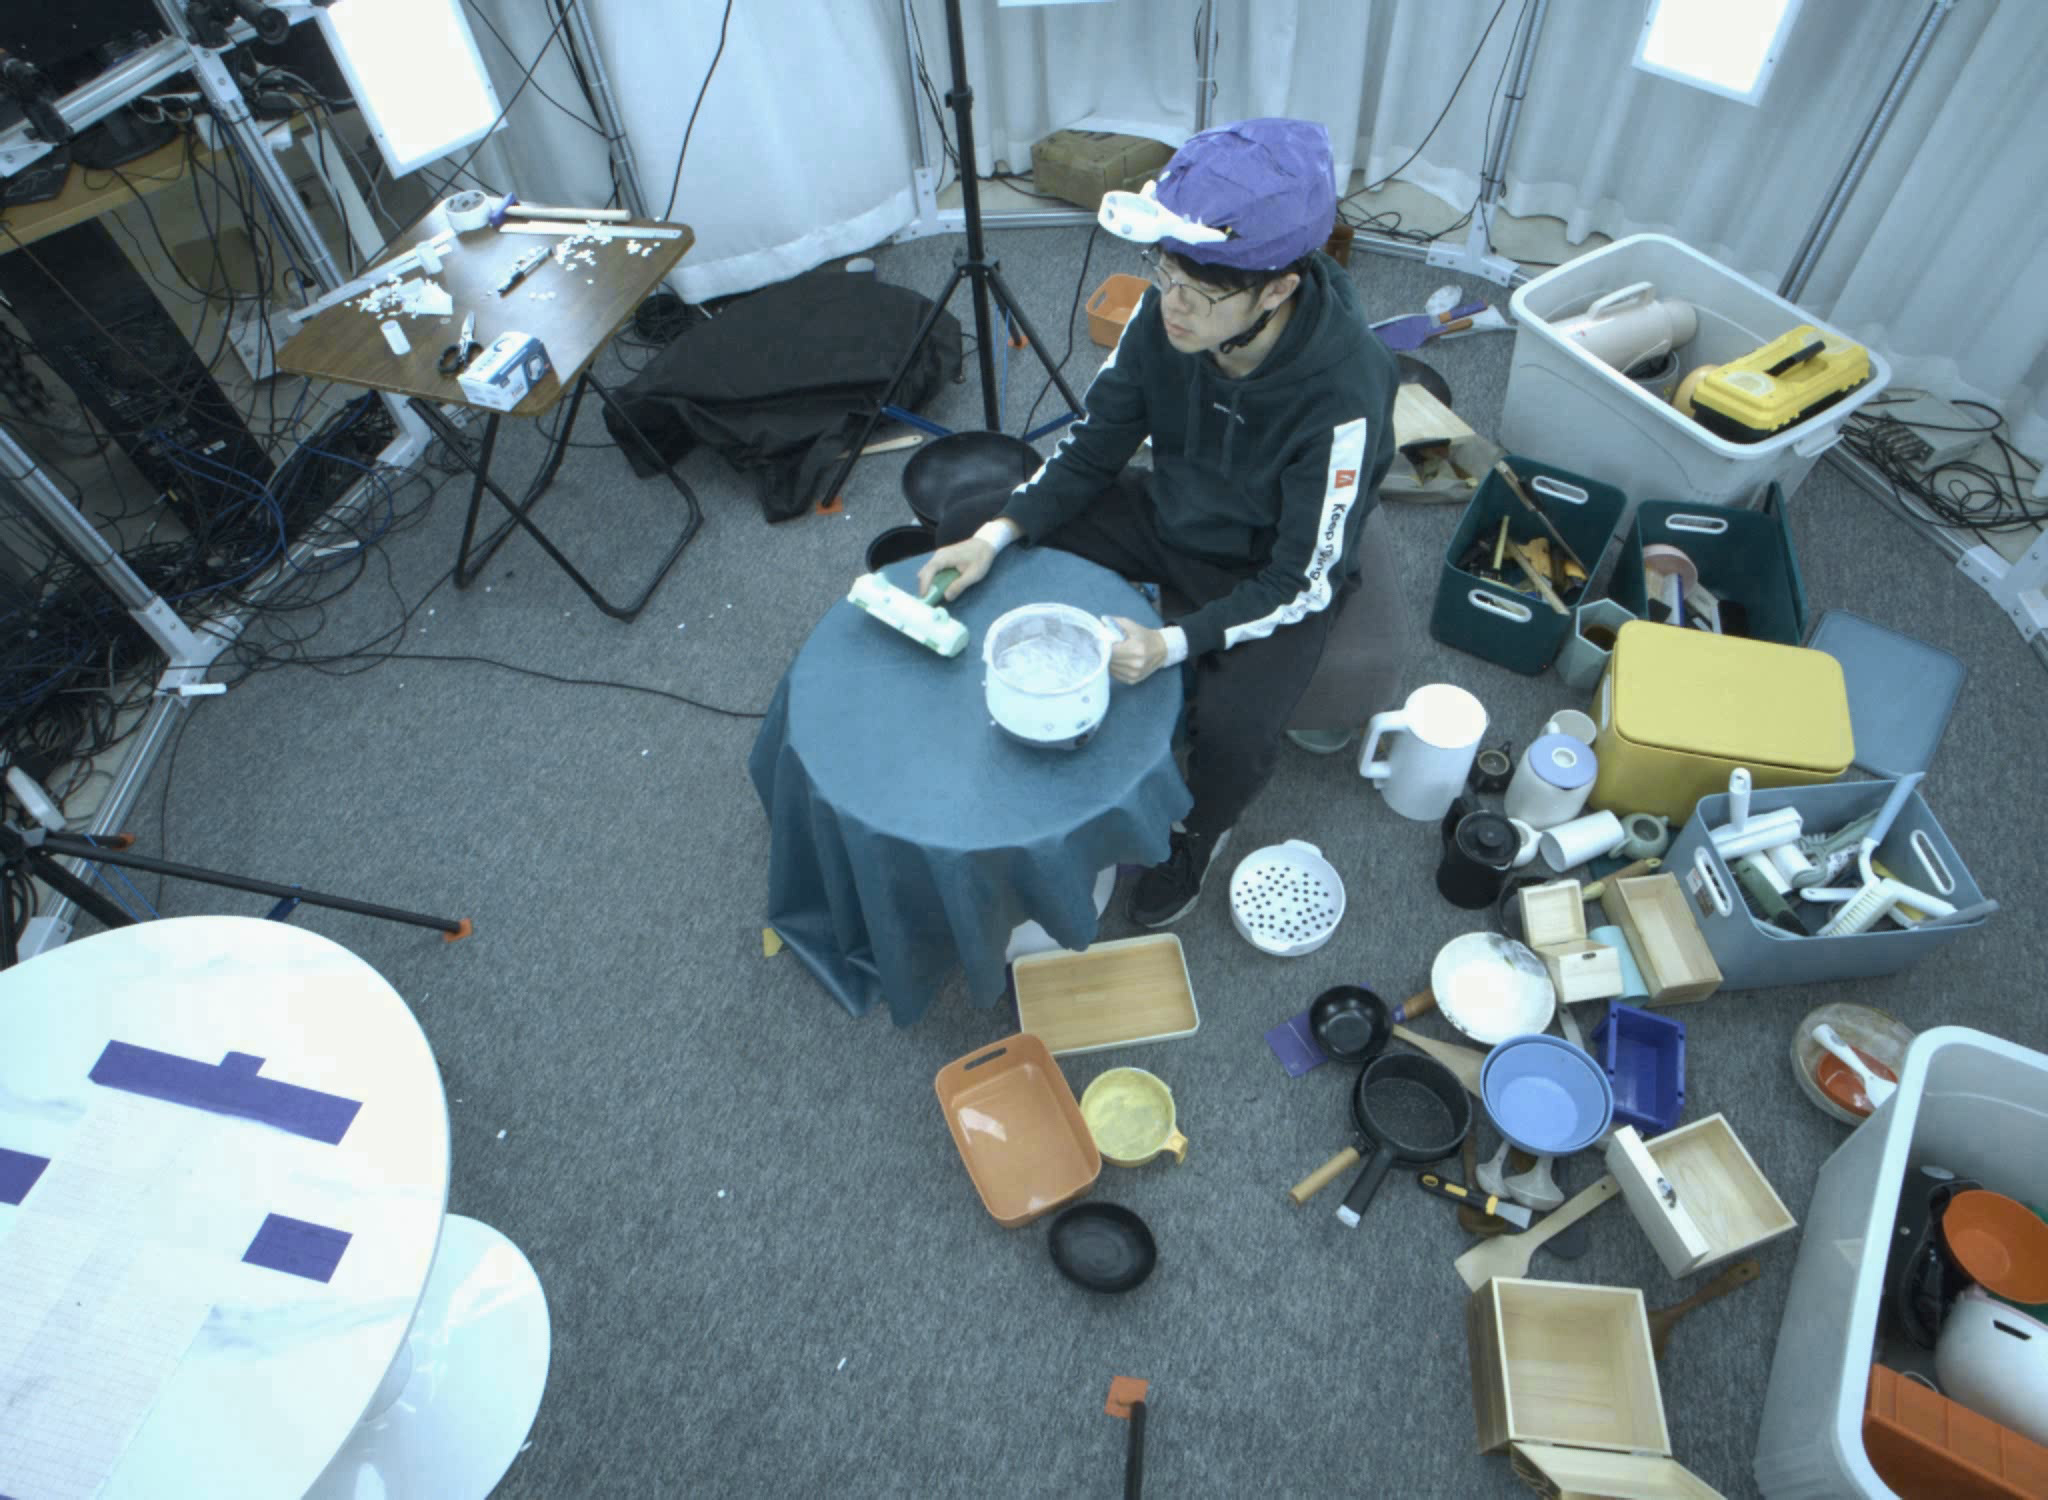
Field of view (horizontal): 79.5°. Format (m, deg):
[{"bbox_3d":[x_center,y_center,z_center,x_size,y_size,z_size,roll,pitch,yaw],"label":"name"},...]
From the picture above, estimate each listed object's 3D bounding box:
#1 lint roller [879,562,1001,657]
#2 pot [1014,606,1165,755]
[{"bbox_3d":[-0.097,-0.250,1.899,0.196,0.083,0.184,32,65,17],"label":"lint roller"},{"bbox_3d":[0.099,-0.106,1.741,0.236,0.138,0.175,-26,56,-21],"label":"pot"}]
